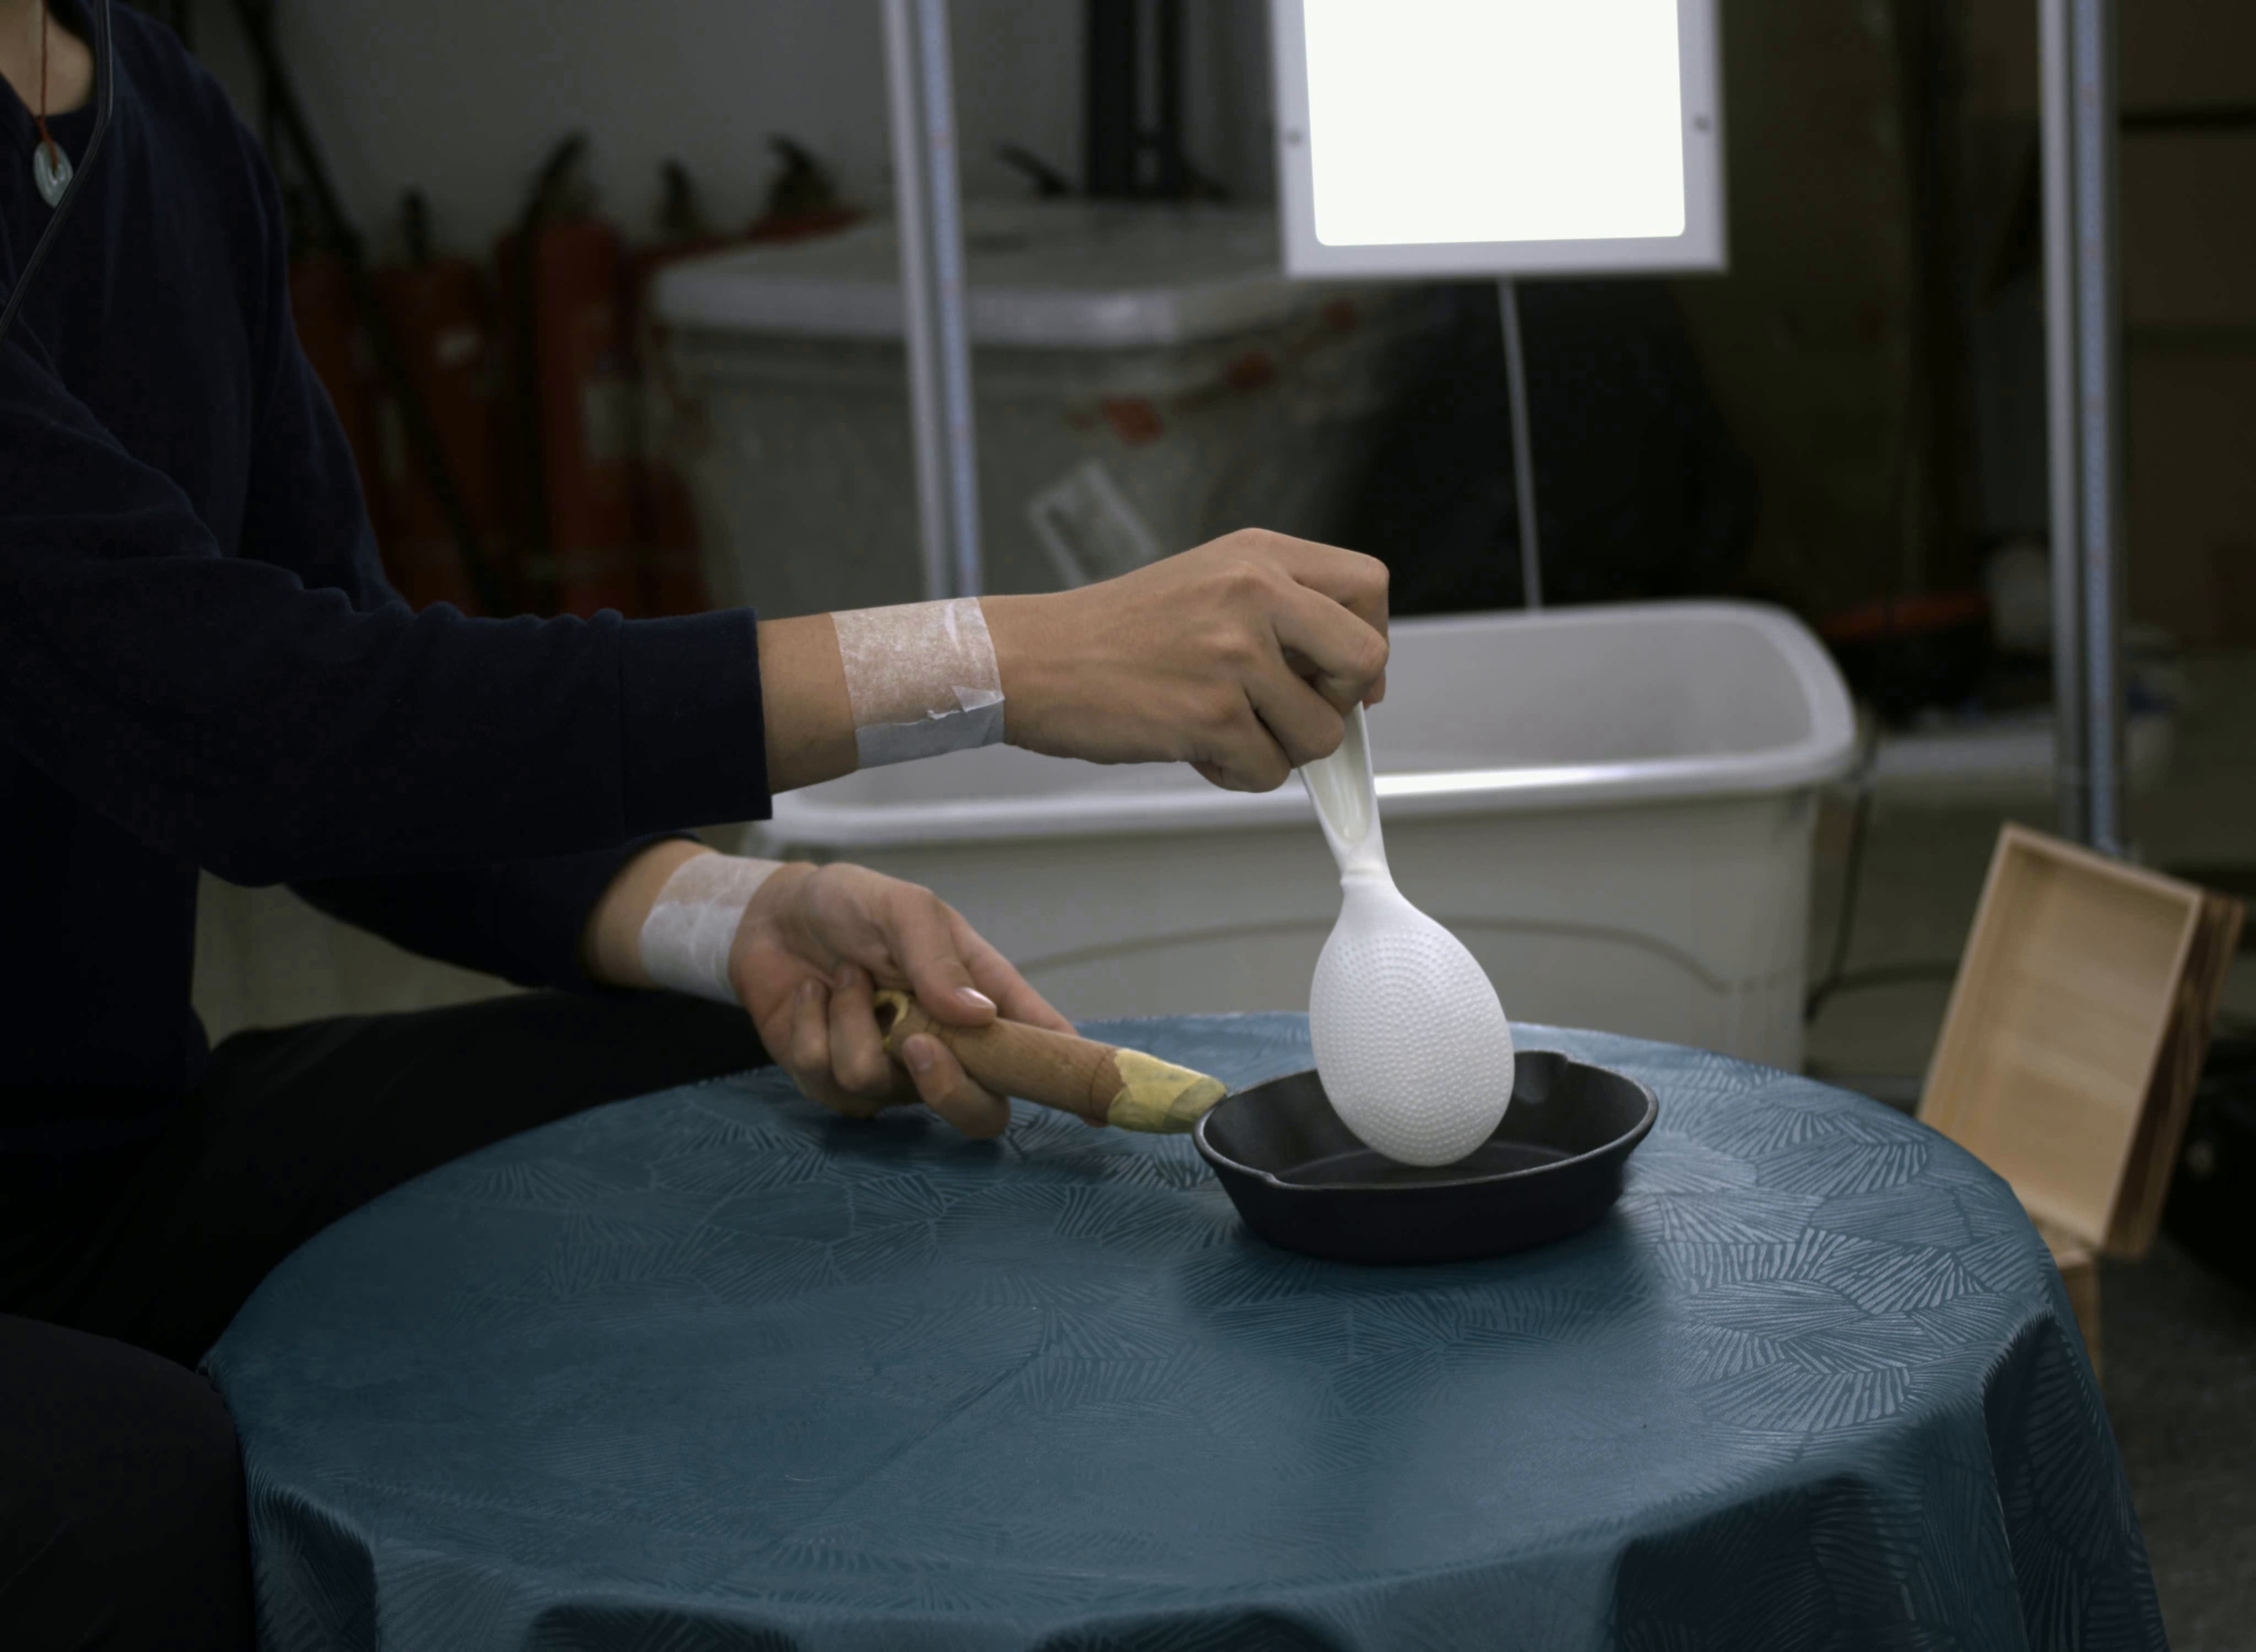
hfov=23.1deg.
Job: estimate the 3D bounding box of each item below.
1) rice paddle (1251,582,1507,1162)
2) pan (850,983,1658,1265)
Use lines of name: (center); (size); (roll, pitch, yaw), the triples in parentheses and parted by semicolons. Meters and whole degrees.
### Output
rice paddle: (0.081, 0.018, 1.862); (0.069, 0.205, 0.029); (-10, 16, 17)
pan: (0.034, 0.097, 1.900); (0.331, 0.050, 0.164); (7, 19, 39)
